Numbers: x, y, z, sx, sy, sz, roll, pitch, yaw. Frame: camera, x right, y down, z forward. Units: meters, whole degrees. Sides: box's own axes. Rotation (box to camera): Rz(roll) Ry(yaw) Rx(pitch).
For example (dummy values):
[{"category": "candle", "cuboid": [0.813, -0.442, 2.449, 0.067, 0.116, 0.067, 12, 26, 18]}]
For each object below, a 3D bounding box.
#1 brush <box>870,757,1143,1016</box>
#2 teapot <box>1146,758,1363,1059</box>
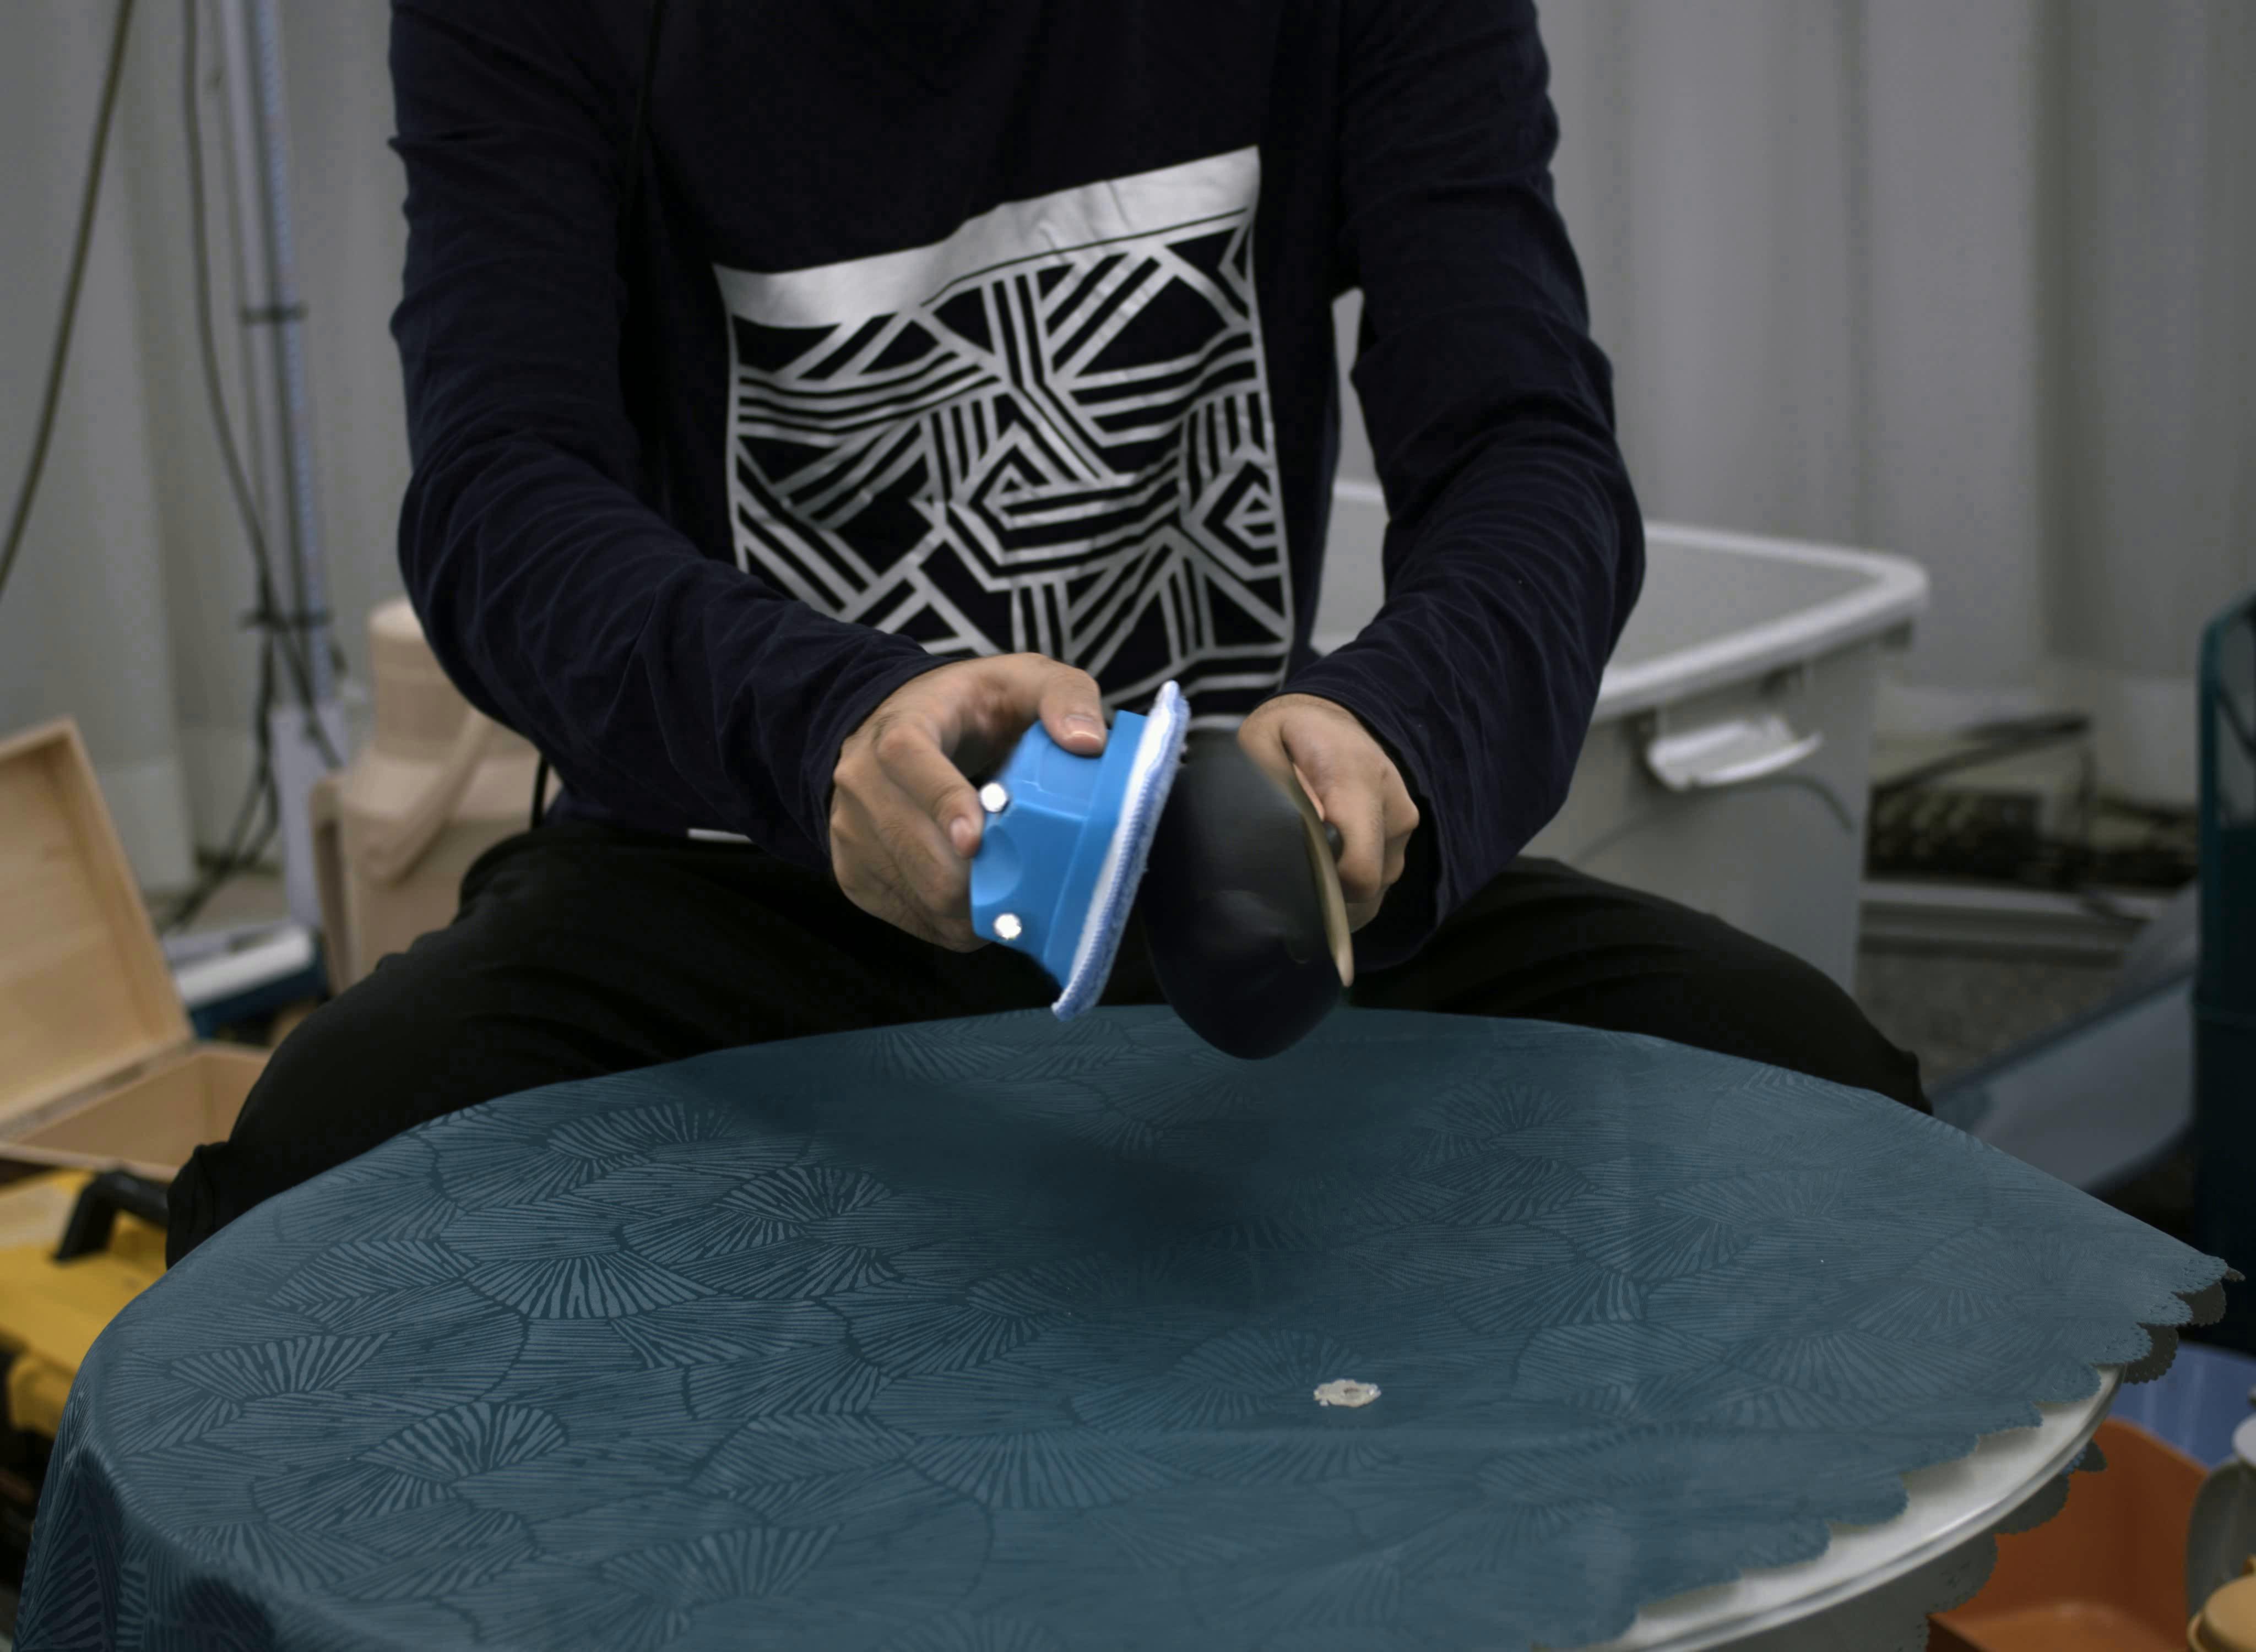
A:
[{"category": "brush", "cuboid": [-0.042, 0.013, 1.640, 0.055, 0.084, 0.144, 29, -7, -12]}, {"category": "teapot", "cuboid": [0.038, 0.023, 1.631, 0.053, 0.090, 0.134, -14, 13, 11]}]
